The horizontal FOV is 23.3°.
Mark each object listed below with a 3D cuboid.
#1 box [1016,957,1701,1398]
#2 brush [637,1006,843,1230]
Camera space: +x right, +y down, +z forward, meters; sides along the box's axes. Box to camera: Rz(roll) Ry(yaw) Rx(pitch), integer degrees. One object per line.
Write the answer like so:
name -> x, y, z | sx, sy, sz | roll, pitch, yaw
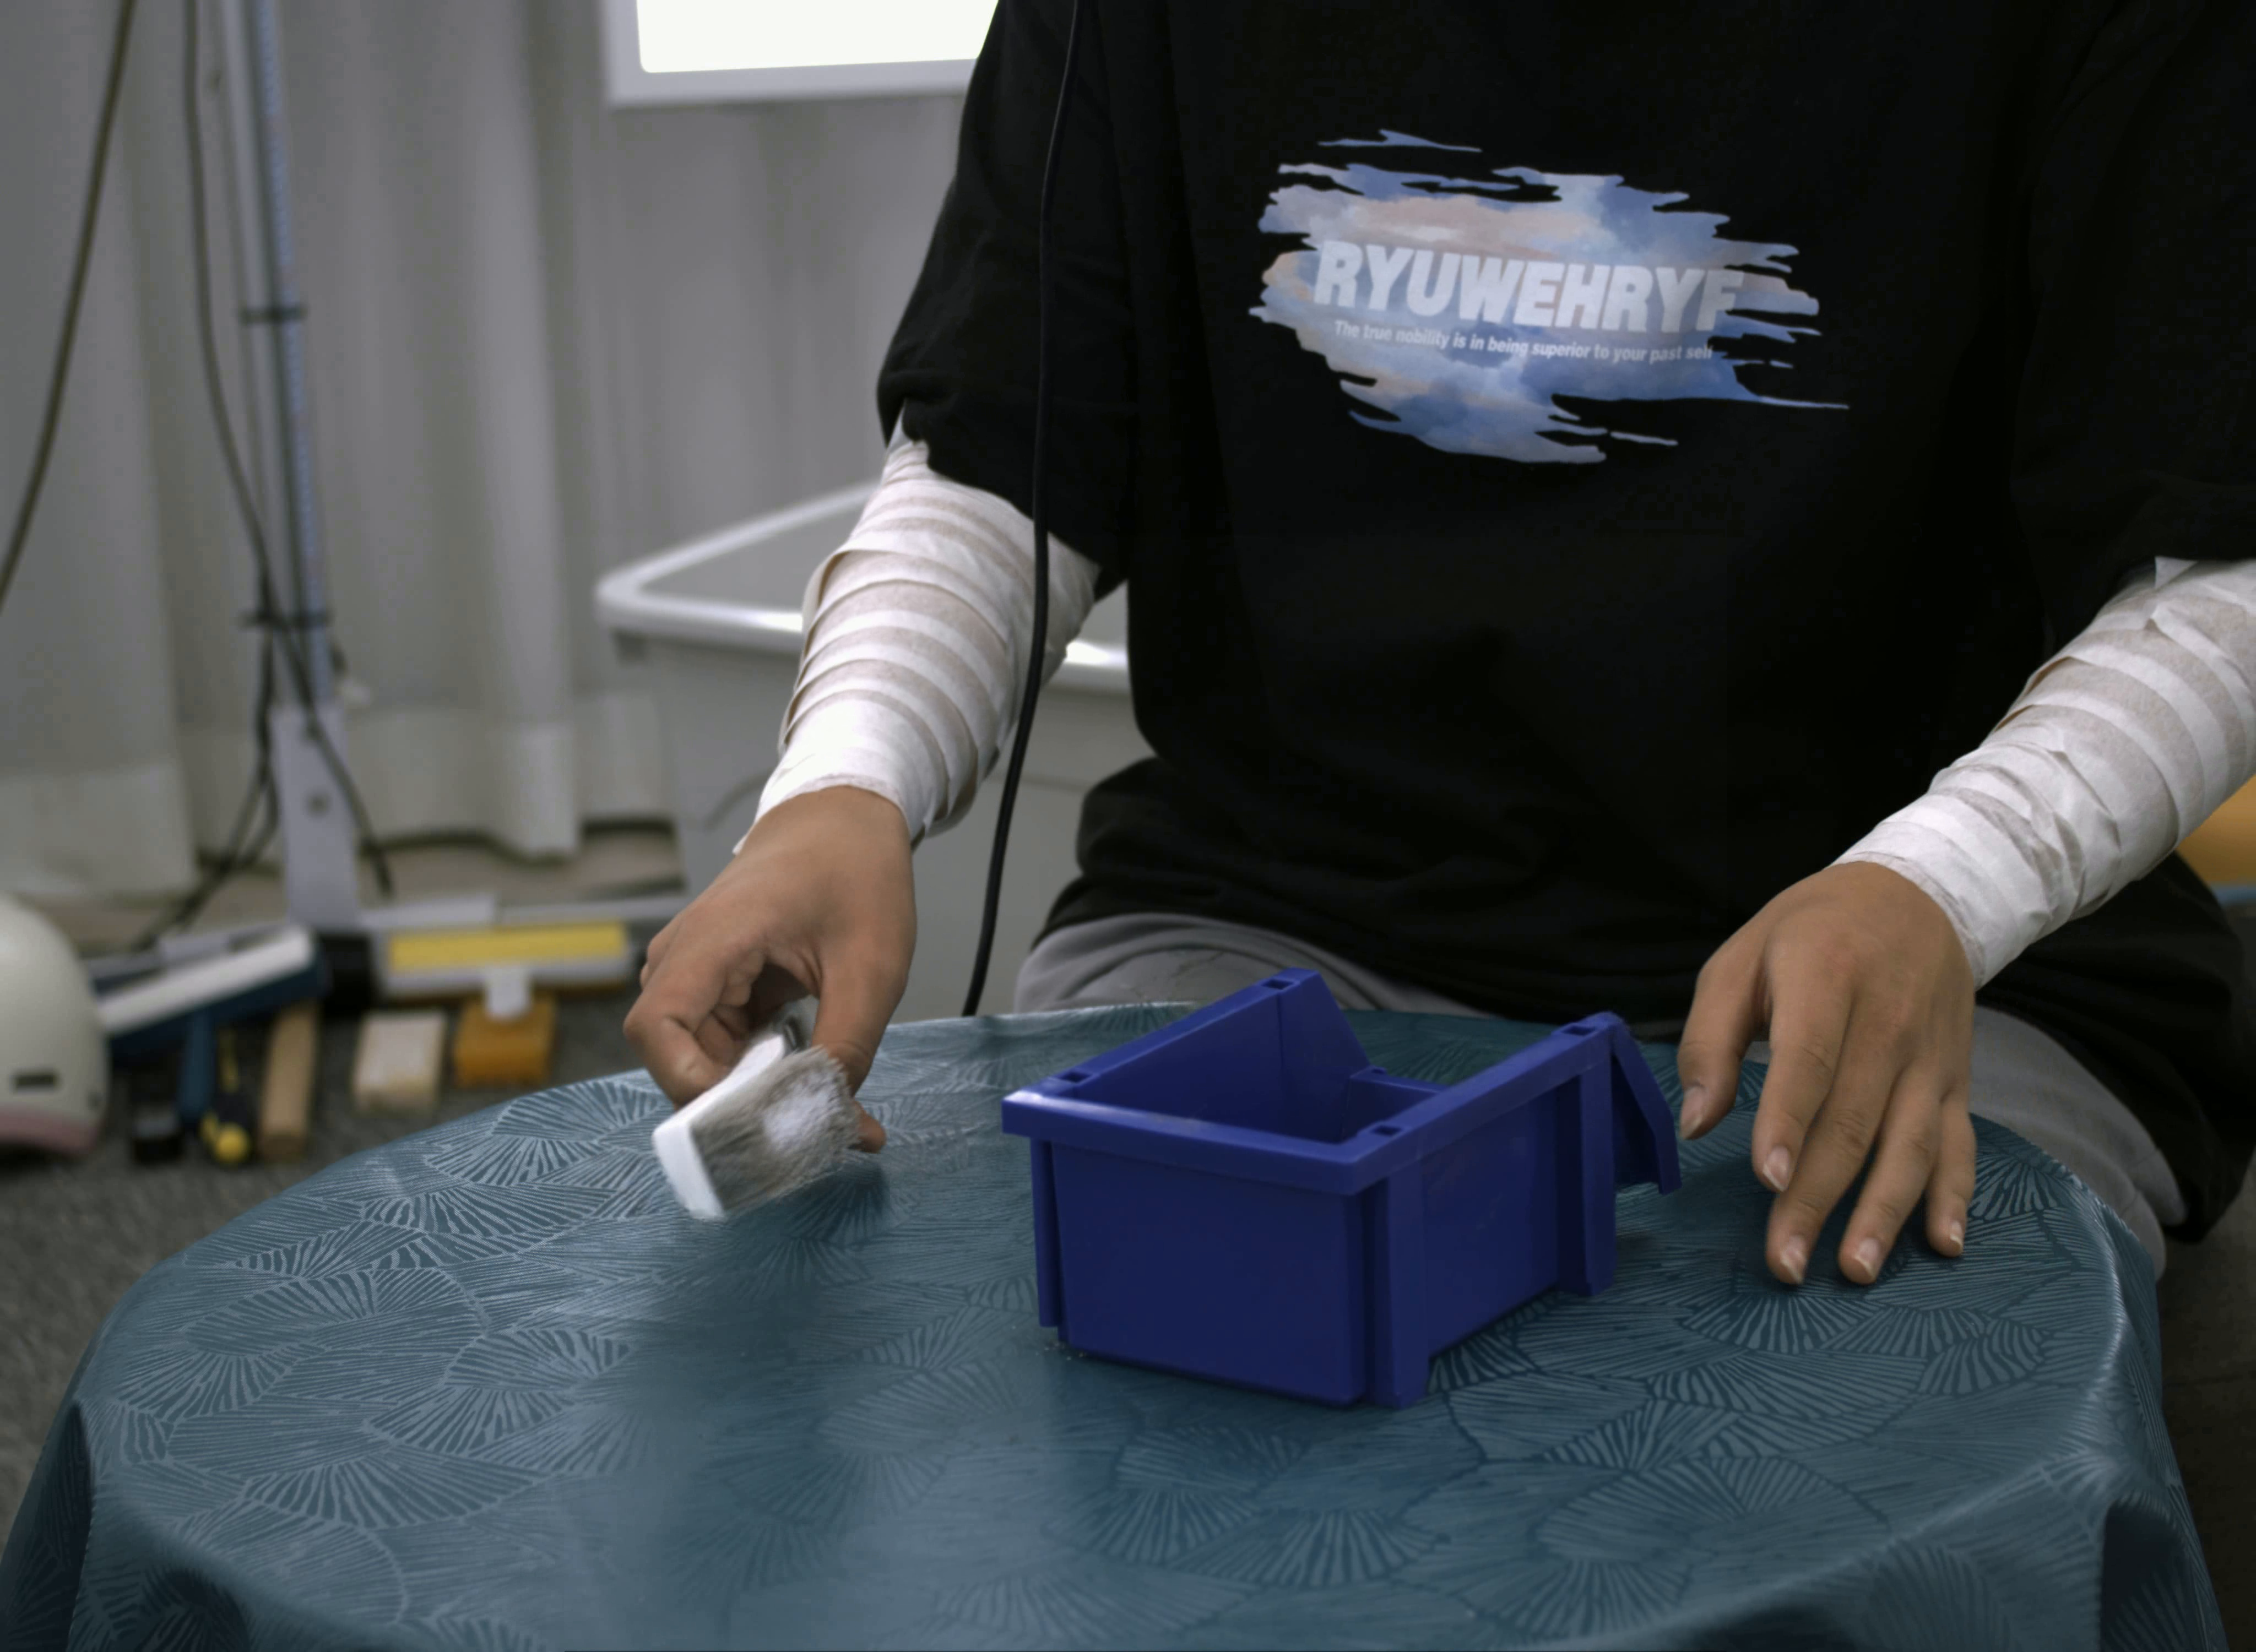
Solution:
box -> 0.069, 0.098, 1.603 | 0.125, 0.081, 0.179 | 7, 19, 36
brush -> -0.102, 0.079, 1.678 | 0.050, 0.034, 0.244 | -21, 5, 9
